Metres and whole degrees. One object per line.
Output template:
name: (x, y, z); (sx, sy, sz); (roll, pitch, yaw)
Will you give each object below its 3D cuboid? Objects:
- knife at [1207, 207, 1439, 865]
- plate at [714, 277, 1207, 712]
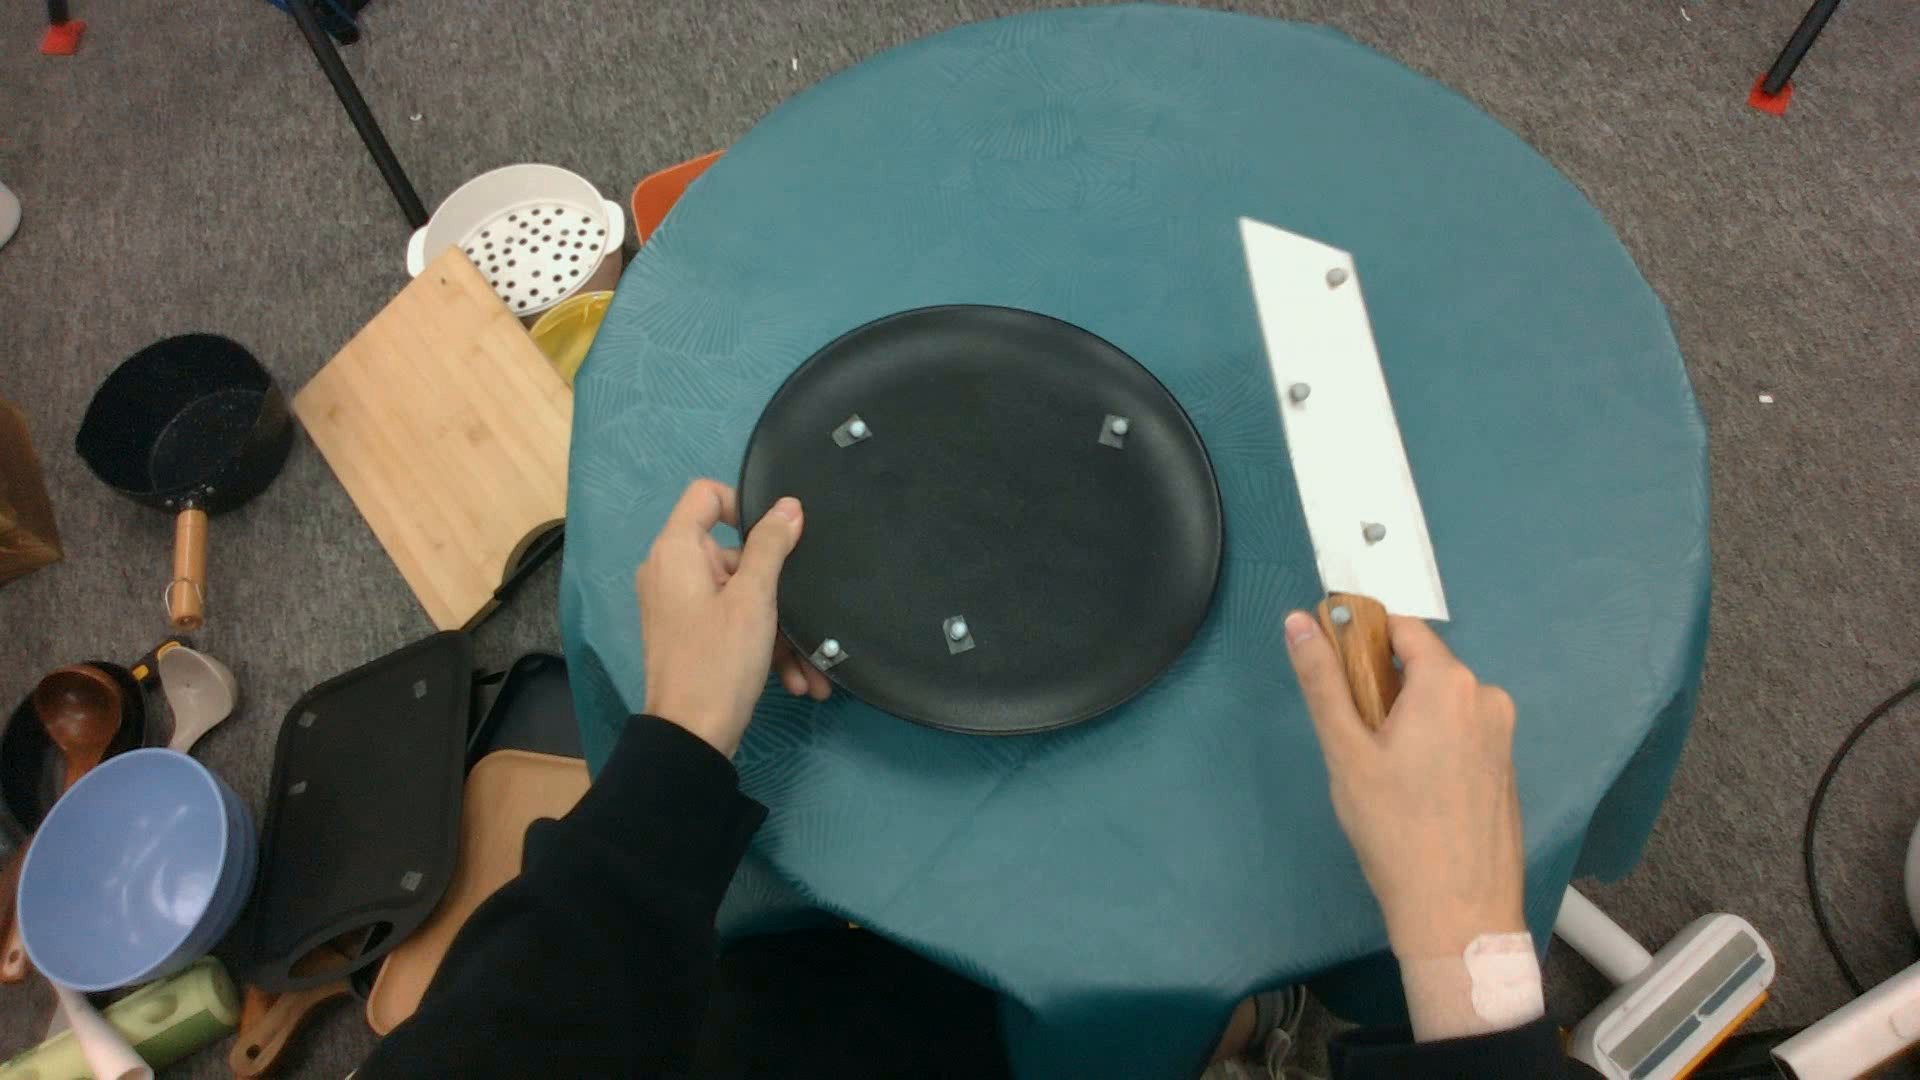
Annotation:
knife: (0.173, -0.012, 0.619); (0.093, 0.021, 0.306); (4, 68, -41)
plate: (0.001, -0.027, 0.685); (0.244, 0.023, 0.245); (4, 62, -7)
